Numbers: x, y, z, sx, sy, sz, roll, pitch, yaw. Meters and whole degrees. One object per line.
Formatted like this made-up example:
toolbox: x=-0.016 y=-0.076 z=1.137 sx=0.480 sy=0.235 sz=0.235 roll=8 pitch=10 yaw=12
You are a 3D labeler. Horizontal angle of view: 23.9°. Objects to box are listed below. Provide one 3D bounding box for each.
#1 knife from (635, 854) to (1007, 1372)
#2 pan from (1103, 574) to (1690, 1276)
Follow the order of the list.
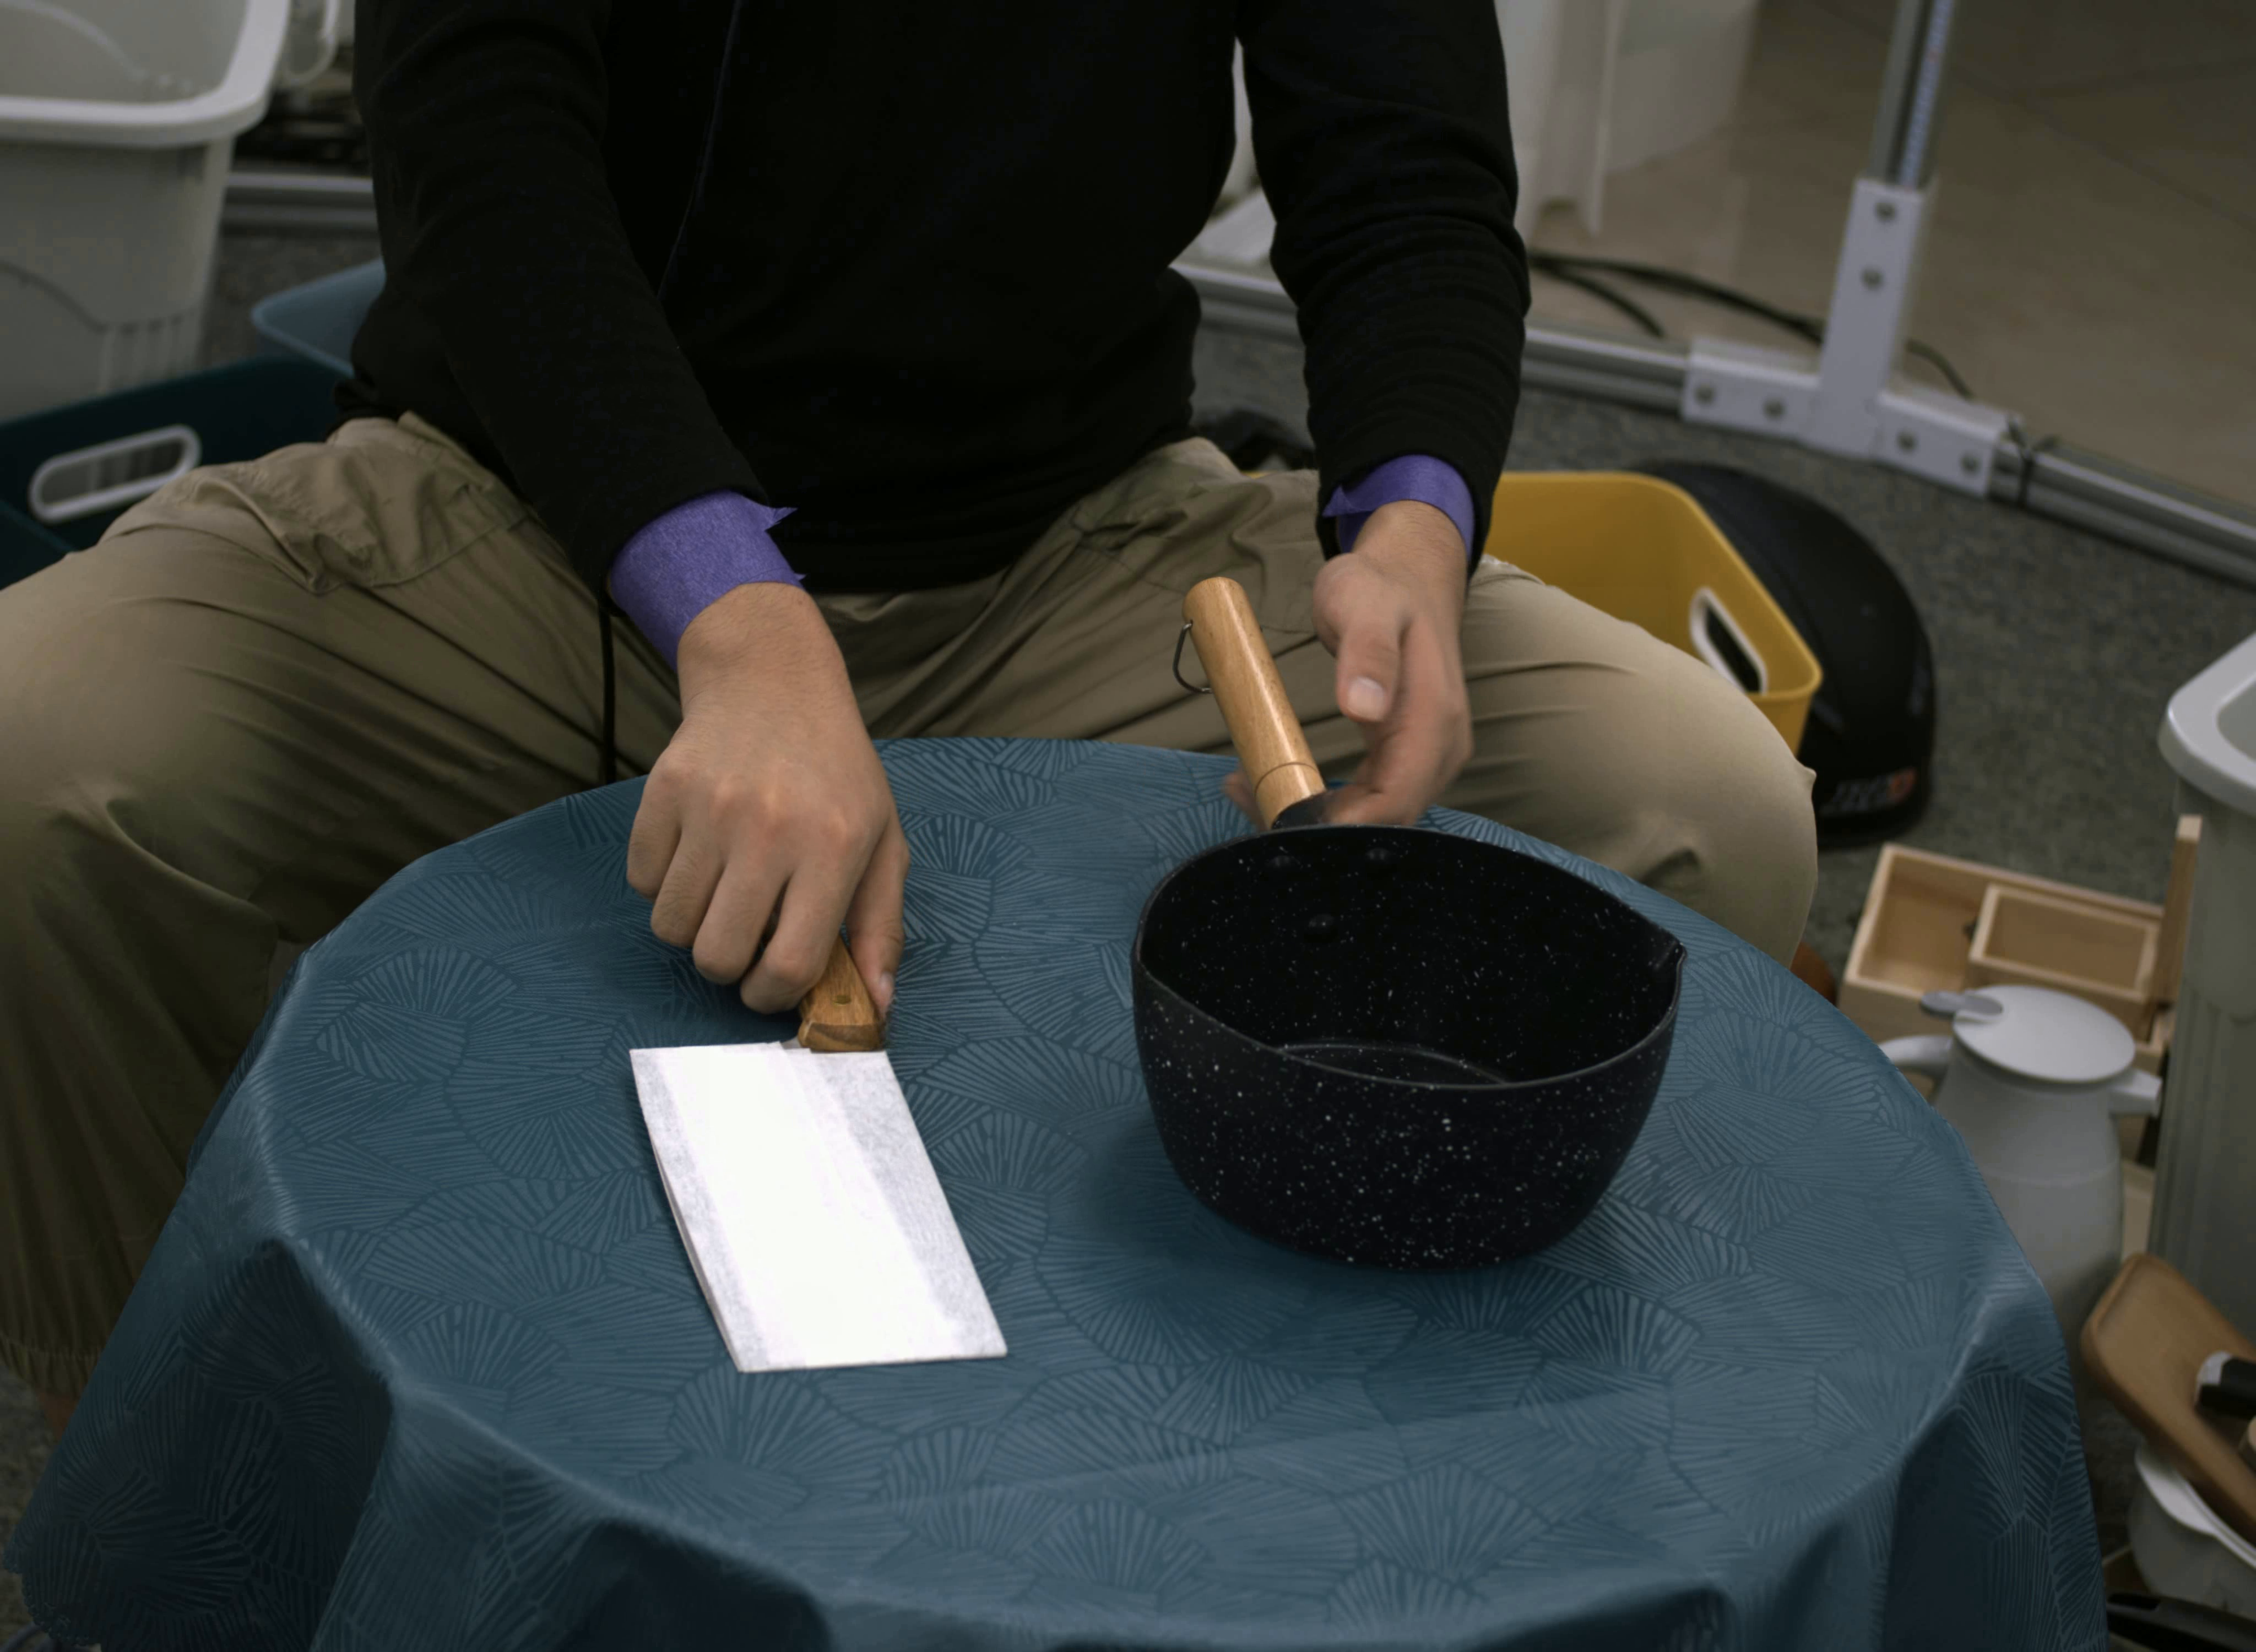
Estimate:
knife: x=-0.118 y=0.094 z=1.818 sx=0.092 sy=0.021 sz=0.308 roll=-2 pitch=31 yaw=-16
pan: x=0.069 y=0.032 z=1.885 sx=0.206 sy=0.108 sz=0.346 roll=-3 pitch=29 yaw=-17
